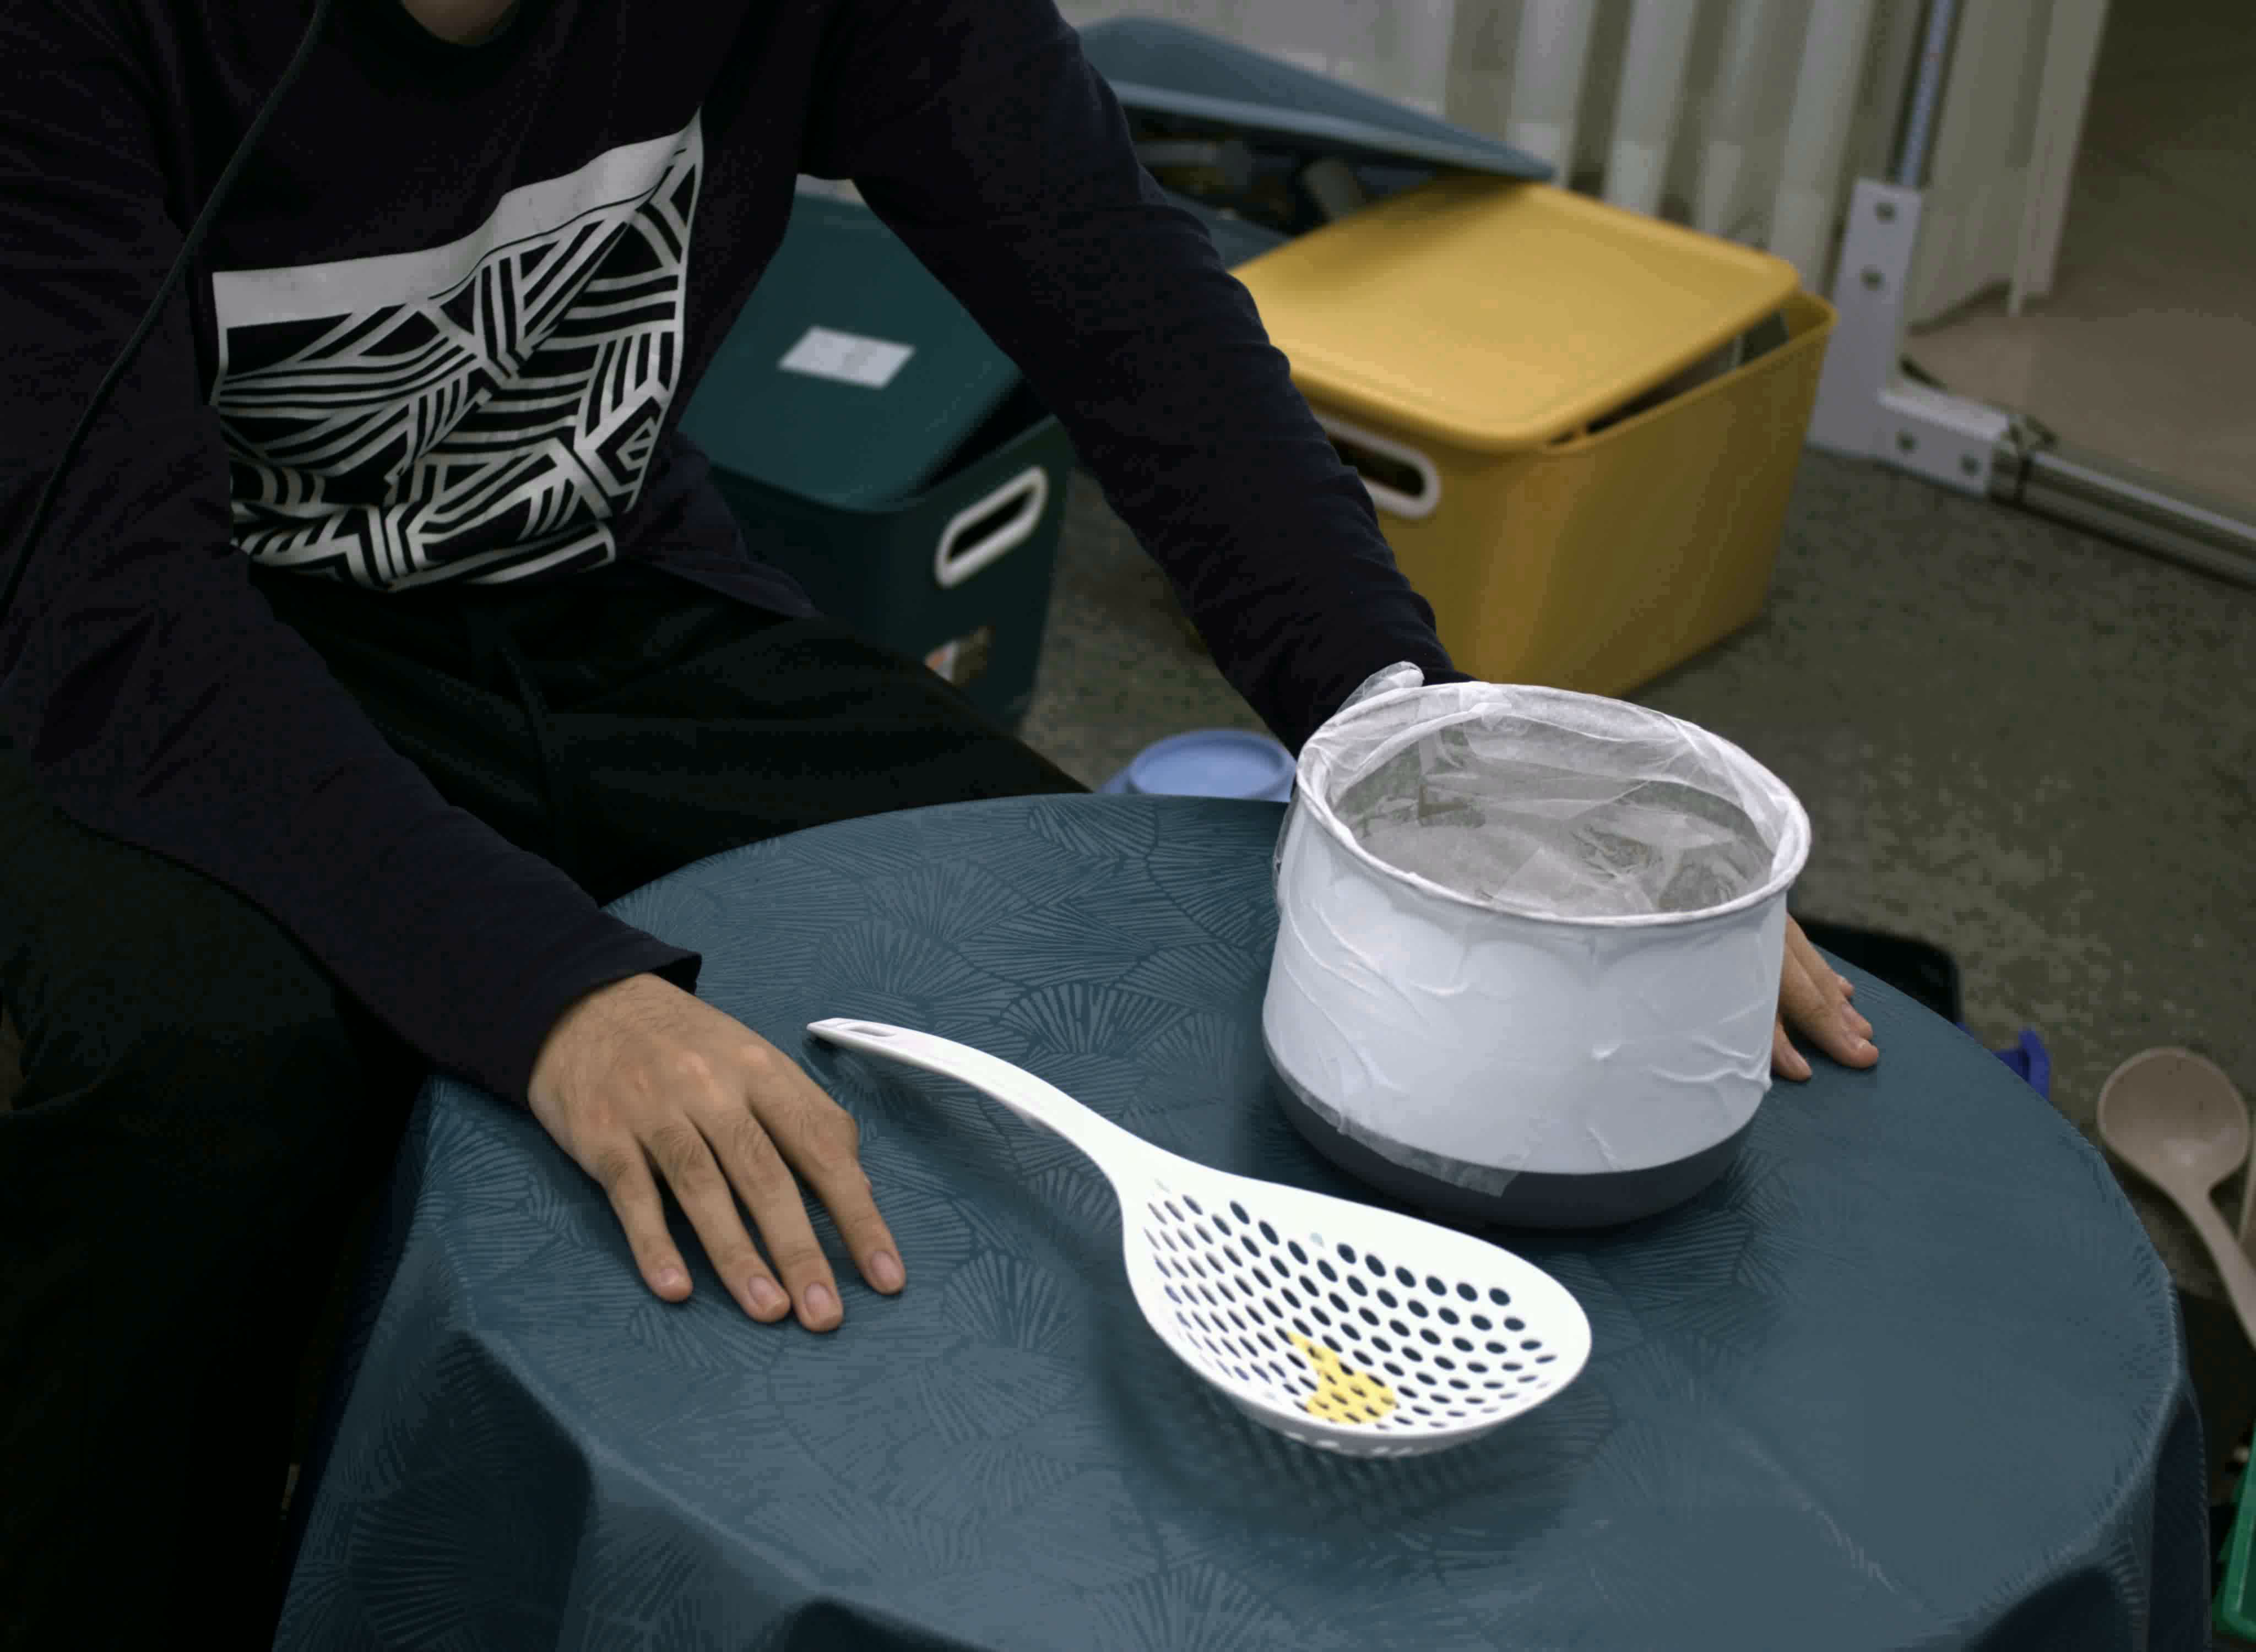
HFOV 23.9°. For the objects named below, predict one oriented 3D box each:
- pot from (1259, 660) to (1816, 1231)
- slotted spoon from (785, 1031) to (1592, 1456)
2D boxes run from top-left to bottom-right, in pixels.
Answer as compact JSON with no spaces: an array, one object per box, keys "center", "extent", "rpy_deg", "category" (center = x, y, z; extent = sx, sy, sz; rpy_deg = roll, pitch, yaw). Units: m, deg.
[{"center":[0.124,0.035,1.859],"extent":[0.177,0.136,0.236],"rpy_deg":[-7,30,-30],"category":"pot"},{"center":[0.004,0.125,1.756],"extent":[0.136,0.050,0.351],"rpy_deg":[-17,36,-37],"category":"slotted spoon"}]
